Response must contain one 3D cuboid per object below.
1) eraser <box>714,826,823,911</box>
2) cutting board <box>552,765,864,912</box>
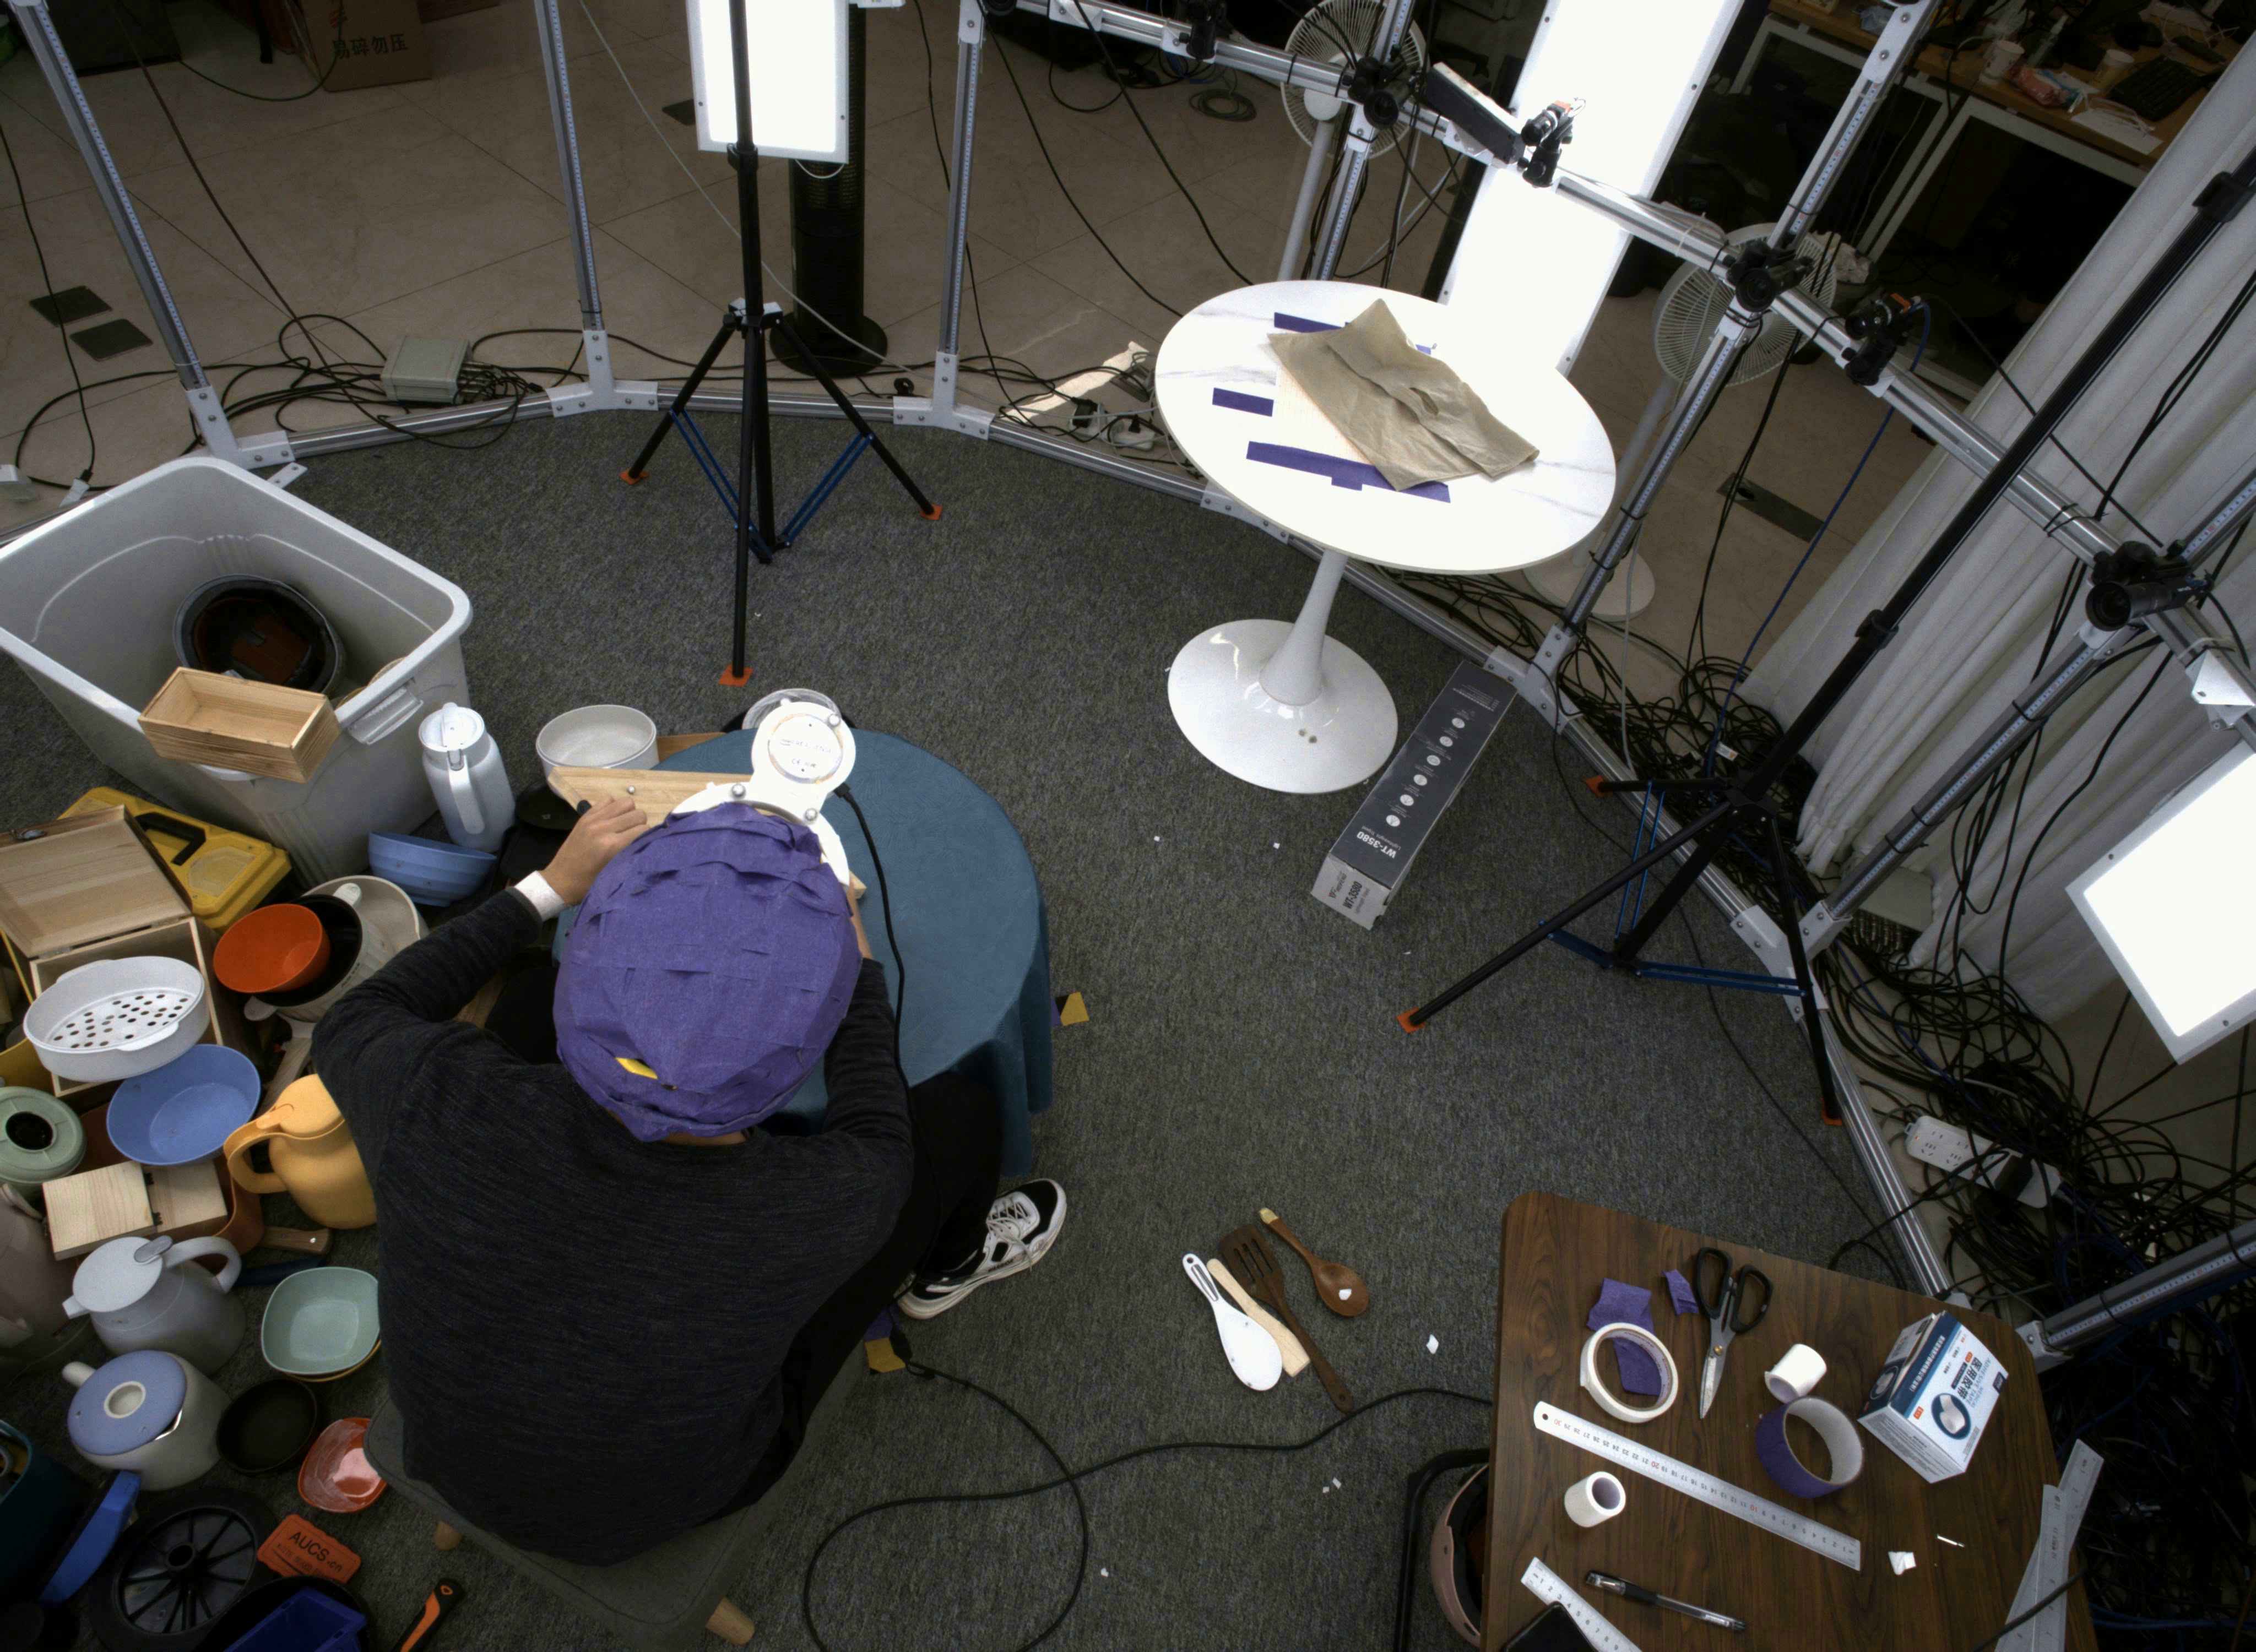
[{"bbox_3d":[-0.420,0.045,1.512,0.130,0.035,0.063,36,16,5],"label":"eraser"},{"bbox_3d":[-0.499,0.010,1.541,0.245,0.024,0.354,41,16,18],"label":"cutting board"}]
